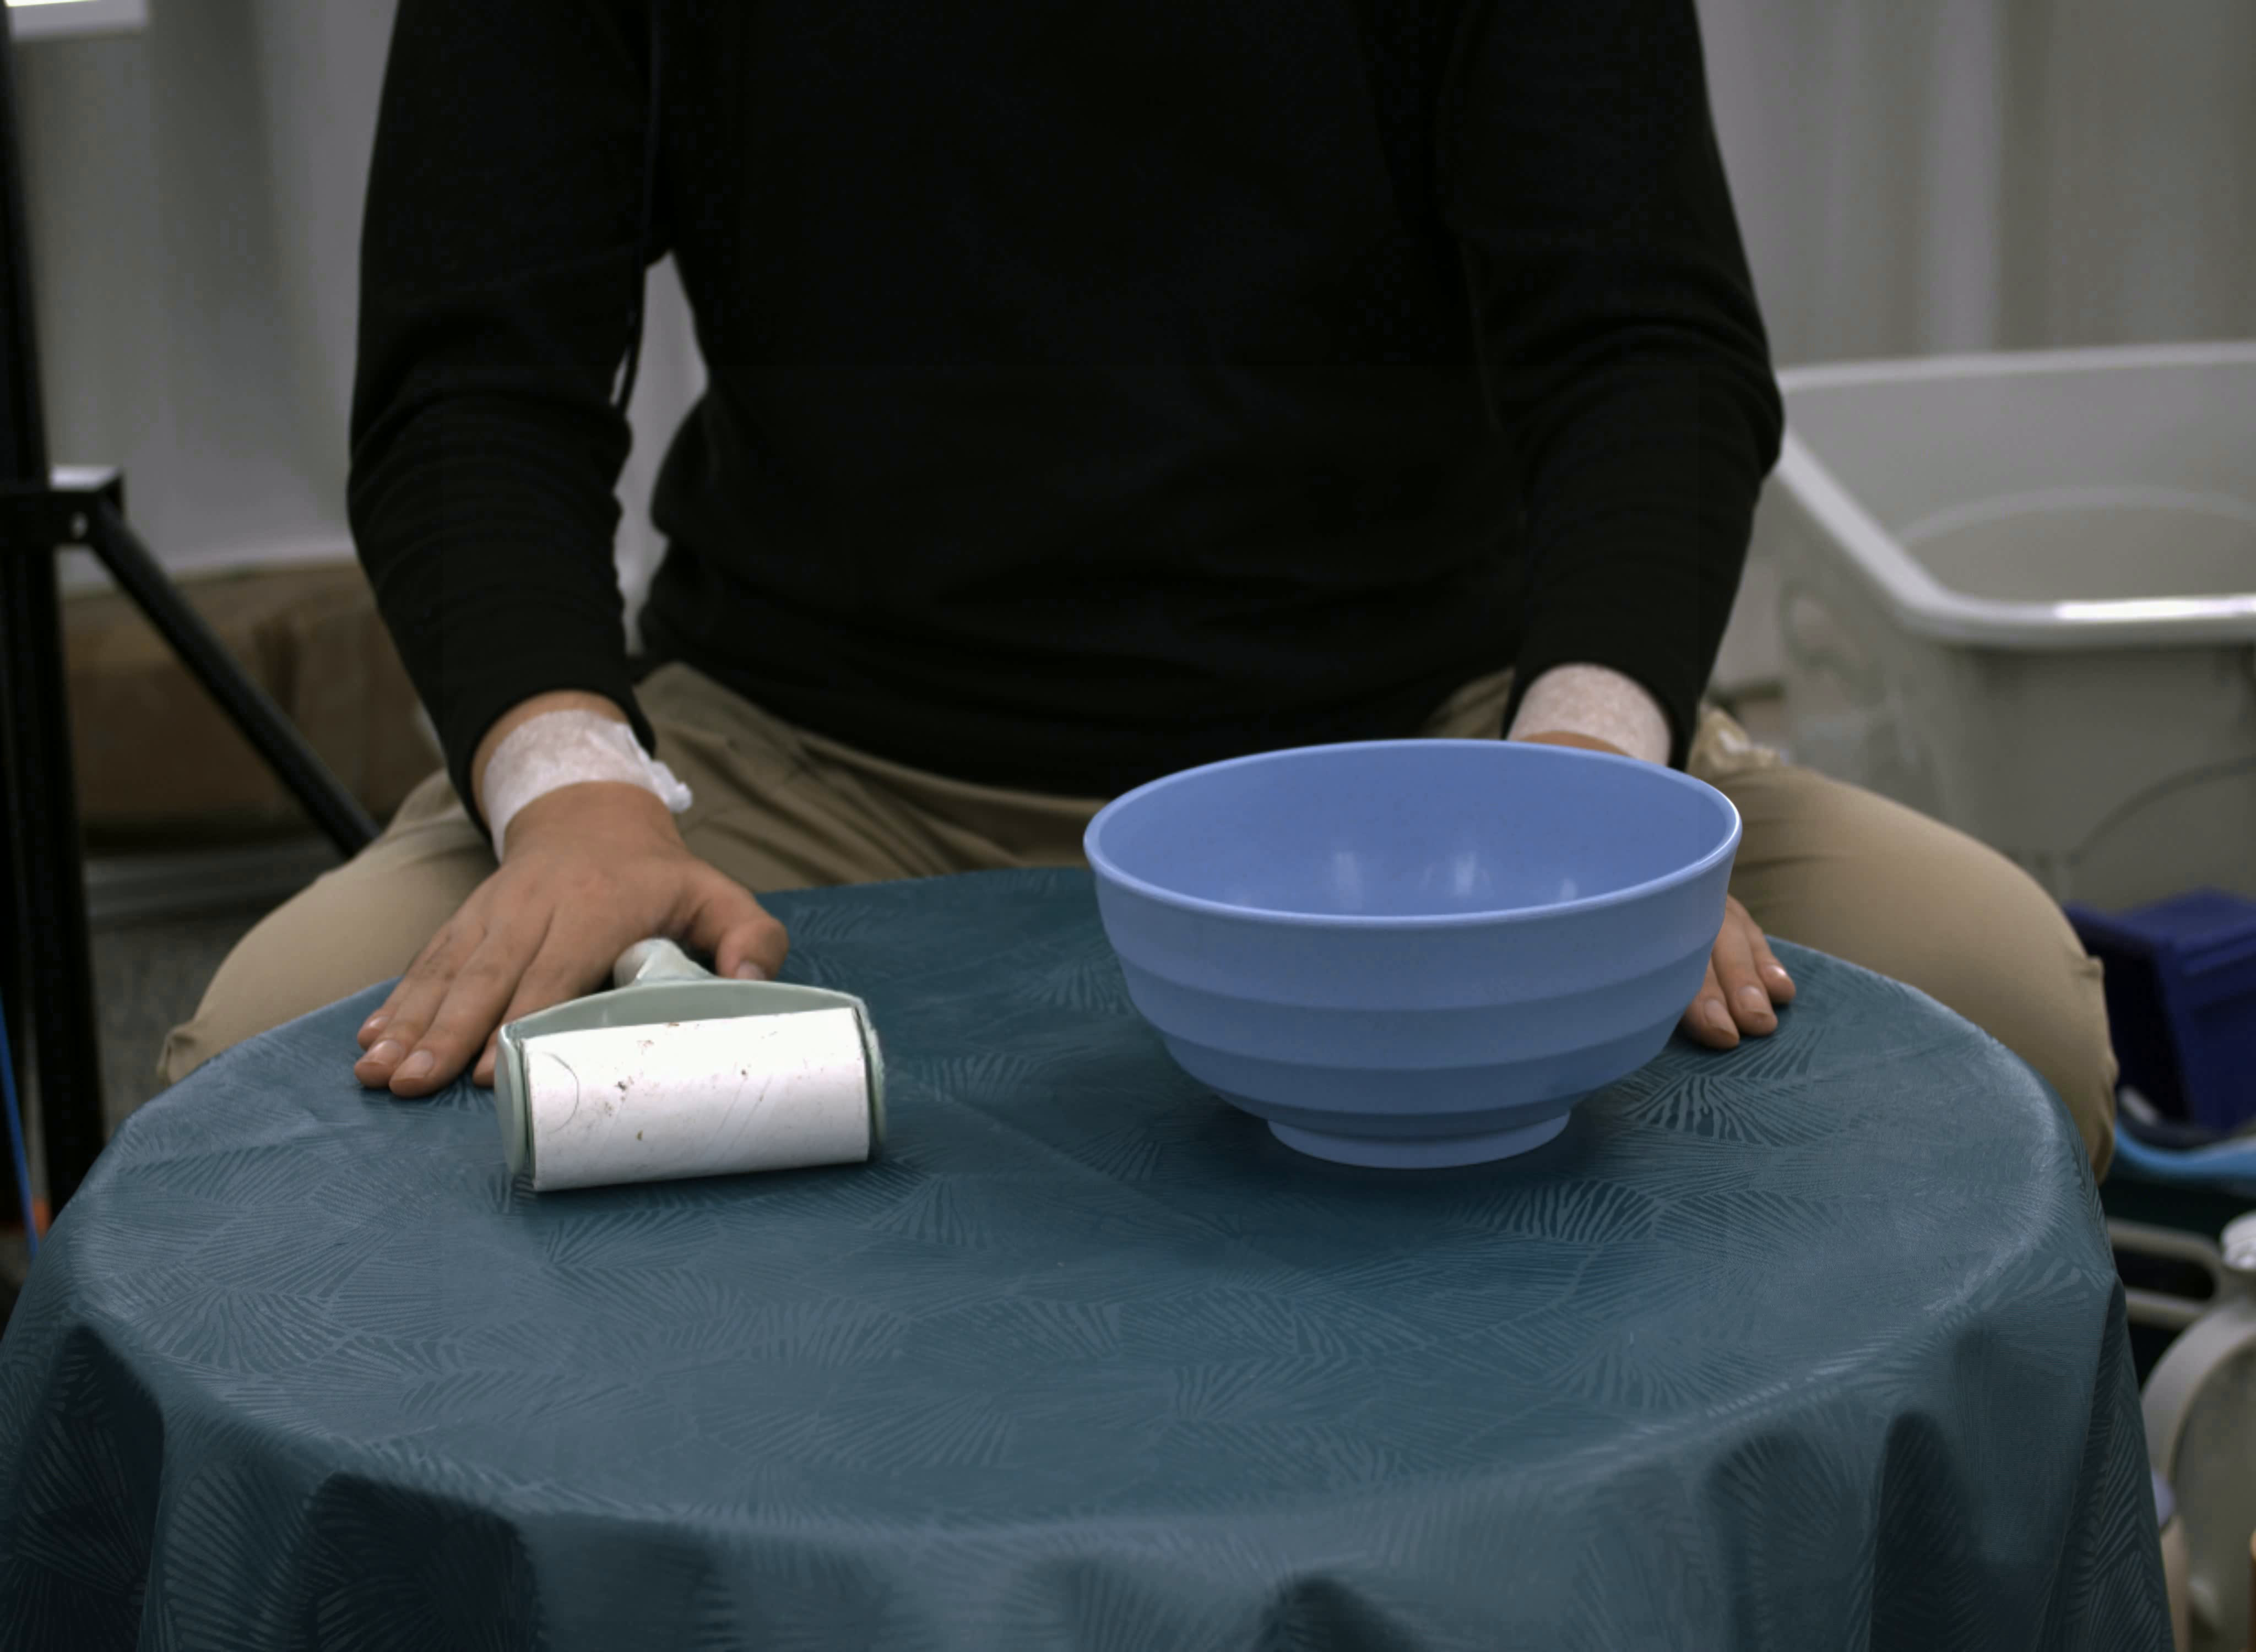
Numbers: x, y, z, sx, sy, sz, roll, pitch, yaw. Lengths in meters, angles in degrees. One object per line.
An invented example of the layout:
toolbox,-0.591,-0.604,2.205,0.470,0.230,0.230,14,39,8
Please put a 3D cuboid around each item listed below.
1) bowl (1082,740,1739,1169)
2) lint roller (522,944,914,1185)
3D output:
bowl,0.086,0.044,1.594,0.195,0.095,0.197,-4,16,0
lint roller,-0.134,0.063,1.659,0.115,0.048,0.199,-6,14,-8
